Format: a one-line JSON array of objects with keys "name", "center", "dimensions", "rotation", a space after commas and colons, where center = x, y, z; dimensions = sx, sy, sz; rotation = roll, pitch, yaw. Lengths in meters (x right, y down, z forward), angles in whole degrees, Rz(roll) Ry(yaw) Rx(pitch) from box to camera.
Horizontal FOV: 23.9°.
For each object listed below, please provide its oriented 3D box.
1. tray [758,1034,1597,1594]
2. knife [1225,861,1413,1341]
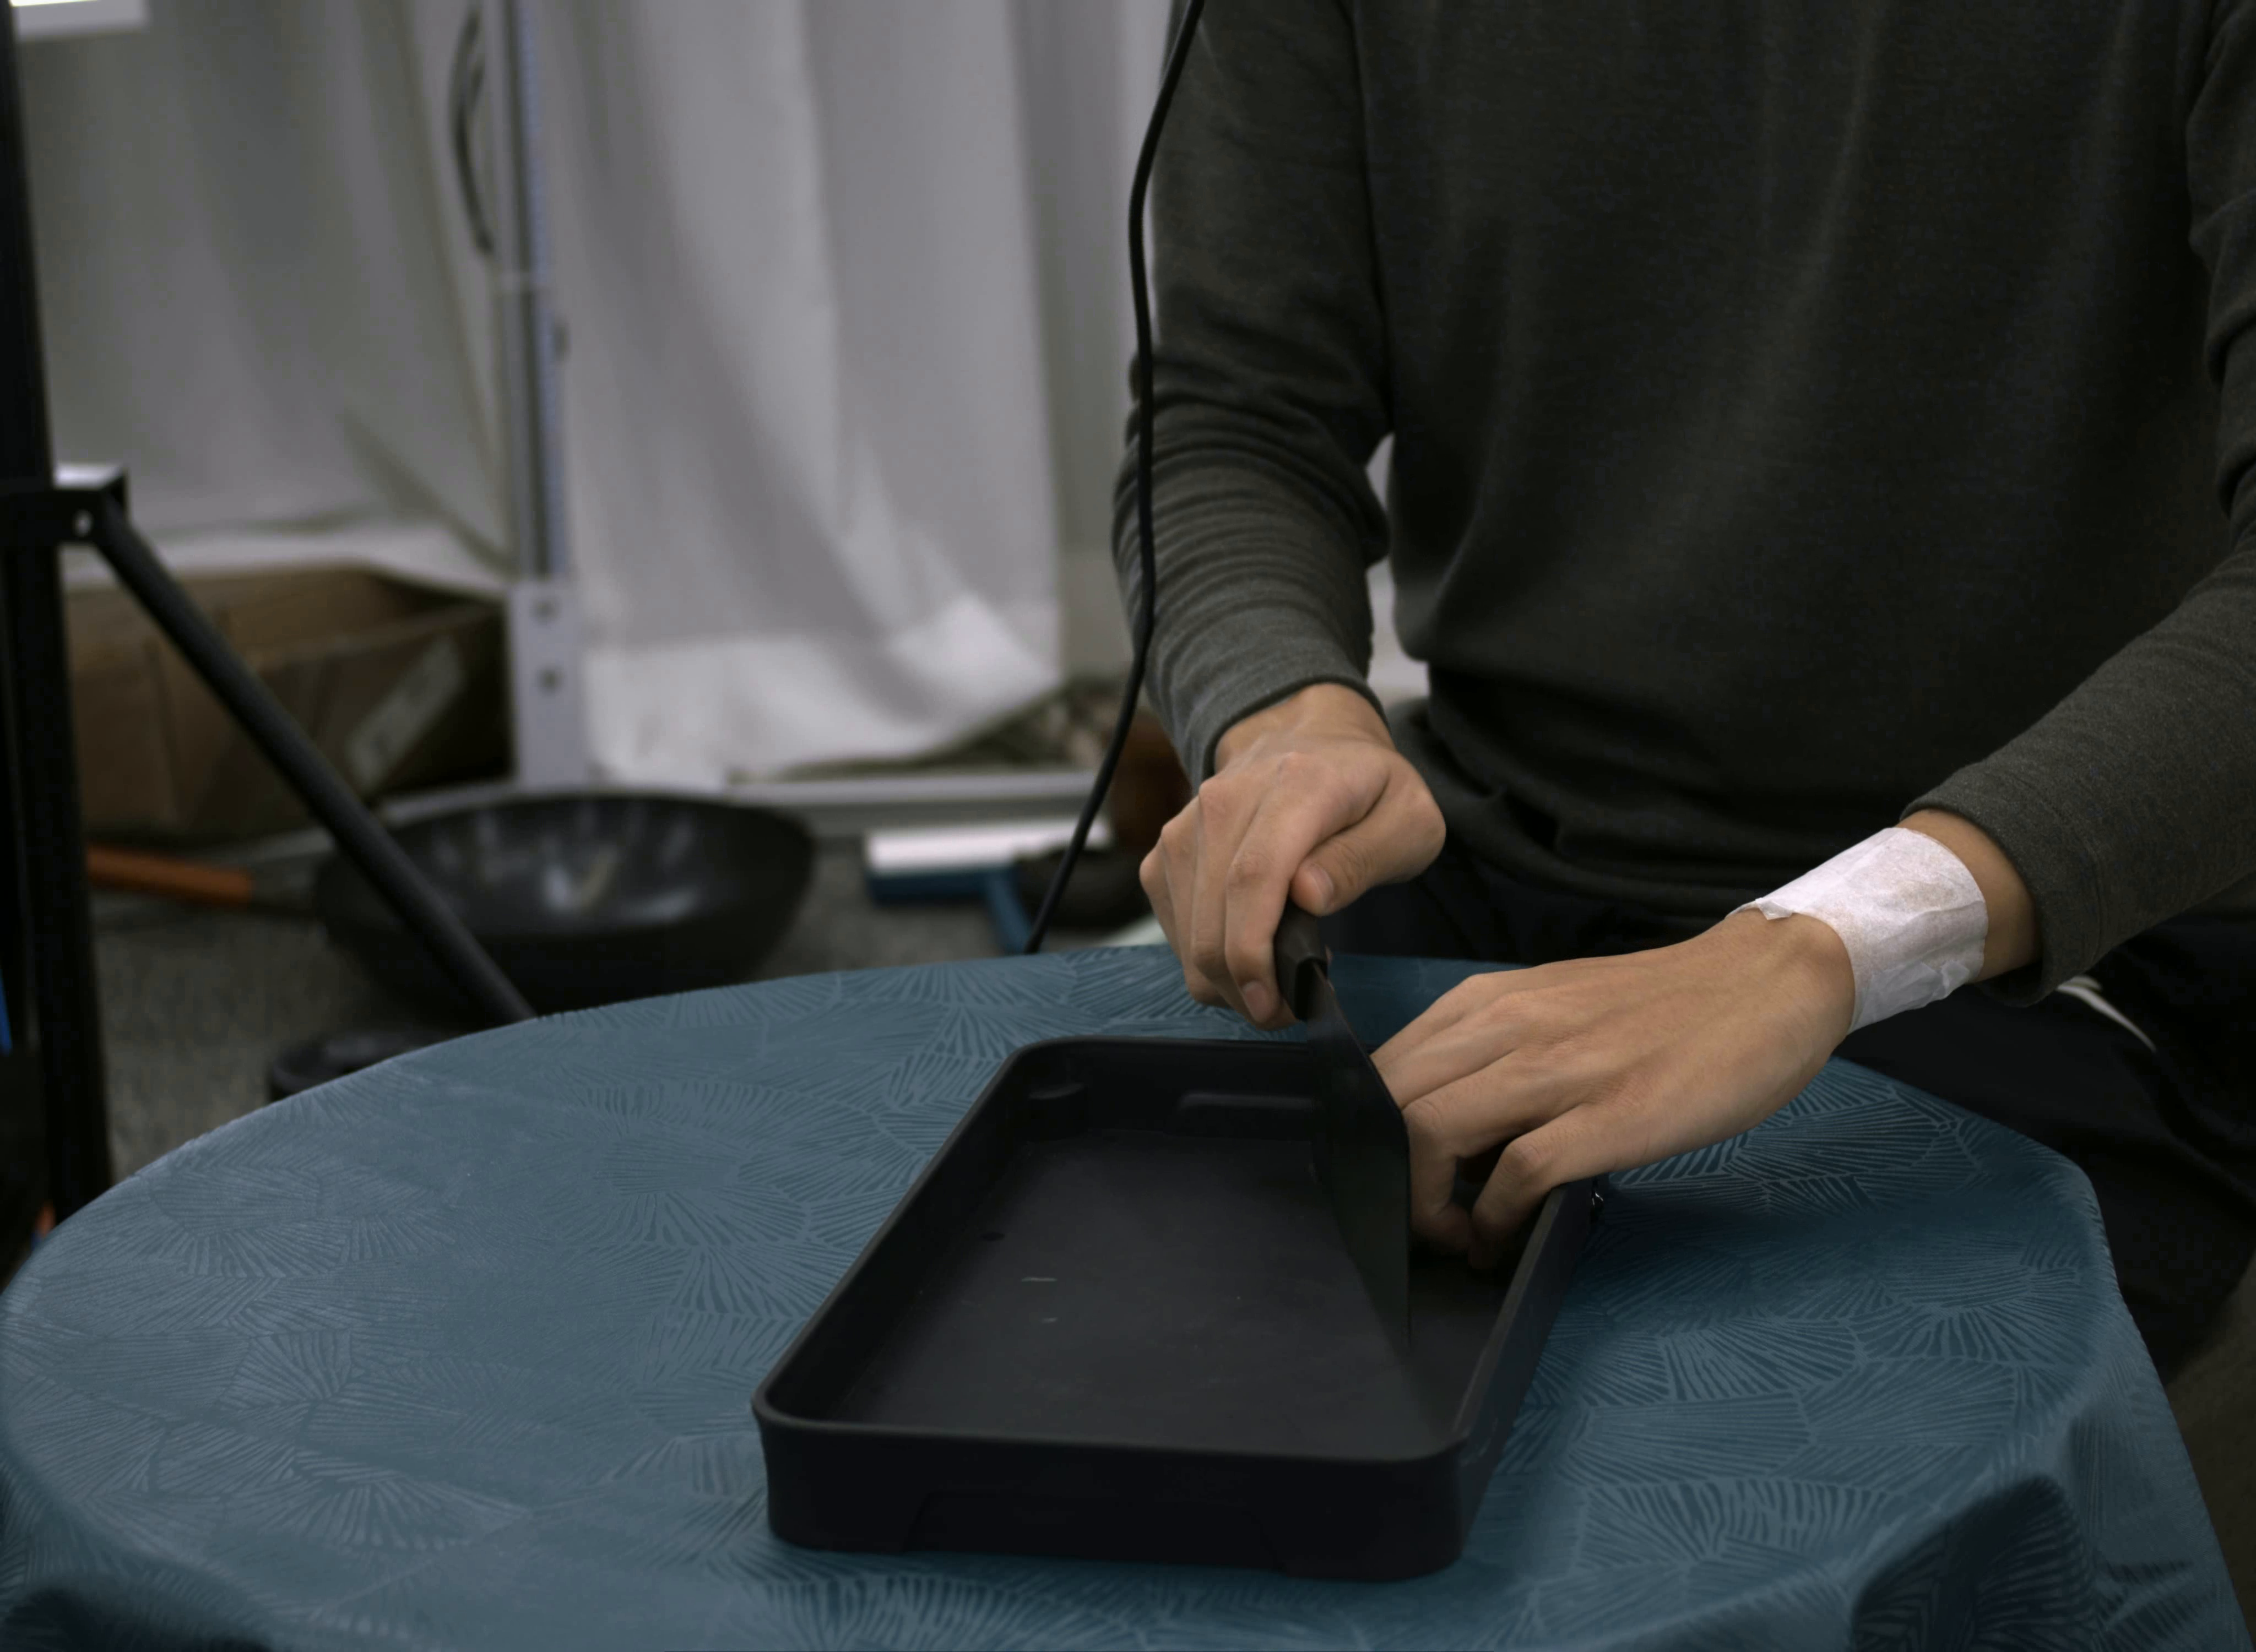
[{"name": "tray", "center": [0.023, 0.124, 1.434], "dimensions": [0.185, 0.037, 0.316], "rotation": [1, 16, 11]}, {"name": "knife", "center": [0.057, 0.070, 1.522], "dimensions": [0.020, 0.081, 0.305], "rotation": [-2, 18, -6]}]
